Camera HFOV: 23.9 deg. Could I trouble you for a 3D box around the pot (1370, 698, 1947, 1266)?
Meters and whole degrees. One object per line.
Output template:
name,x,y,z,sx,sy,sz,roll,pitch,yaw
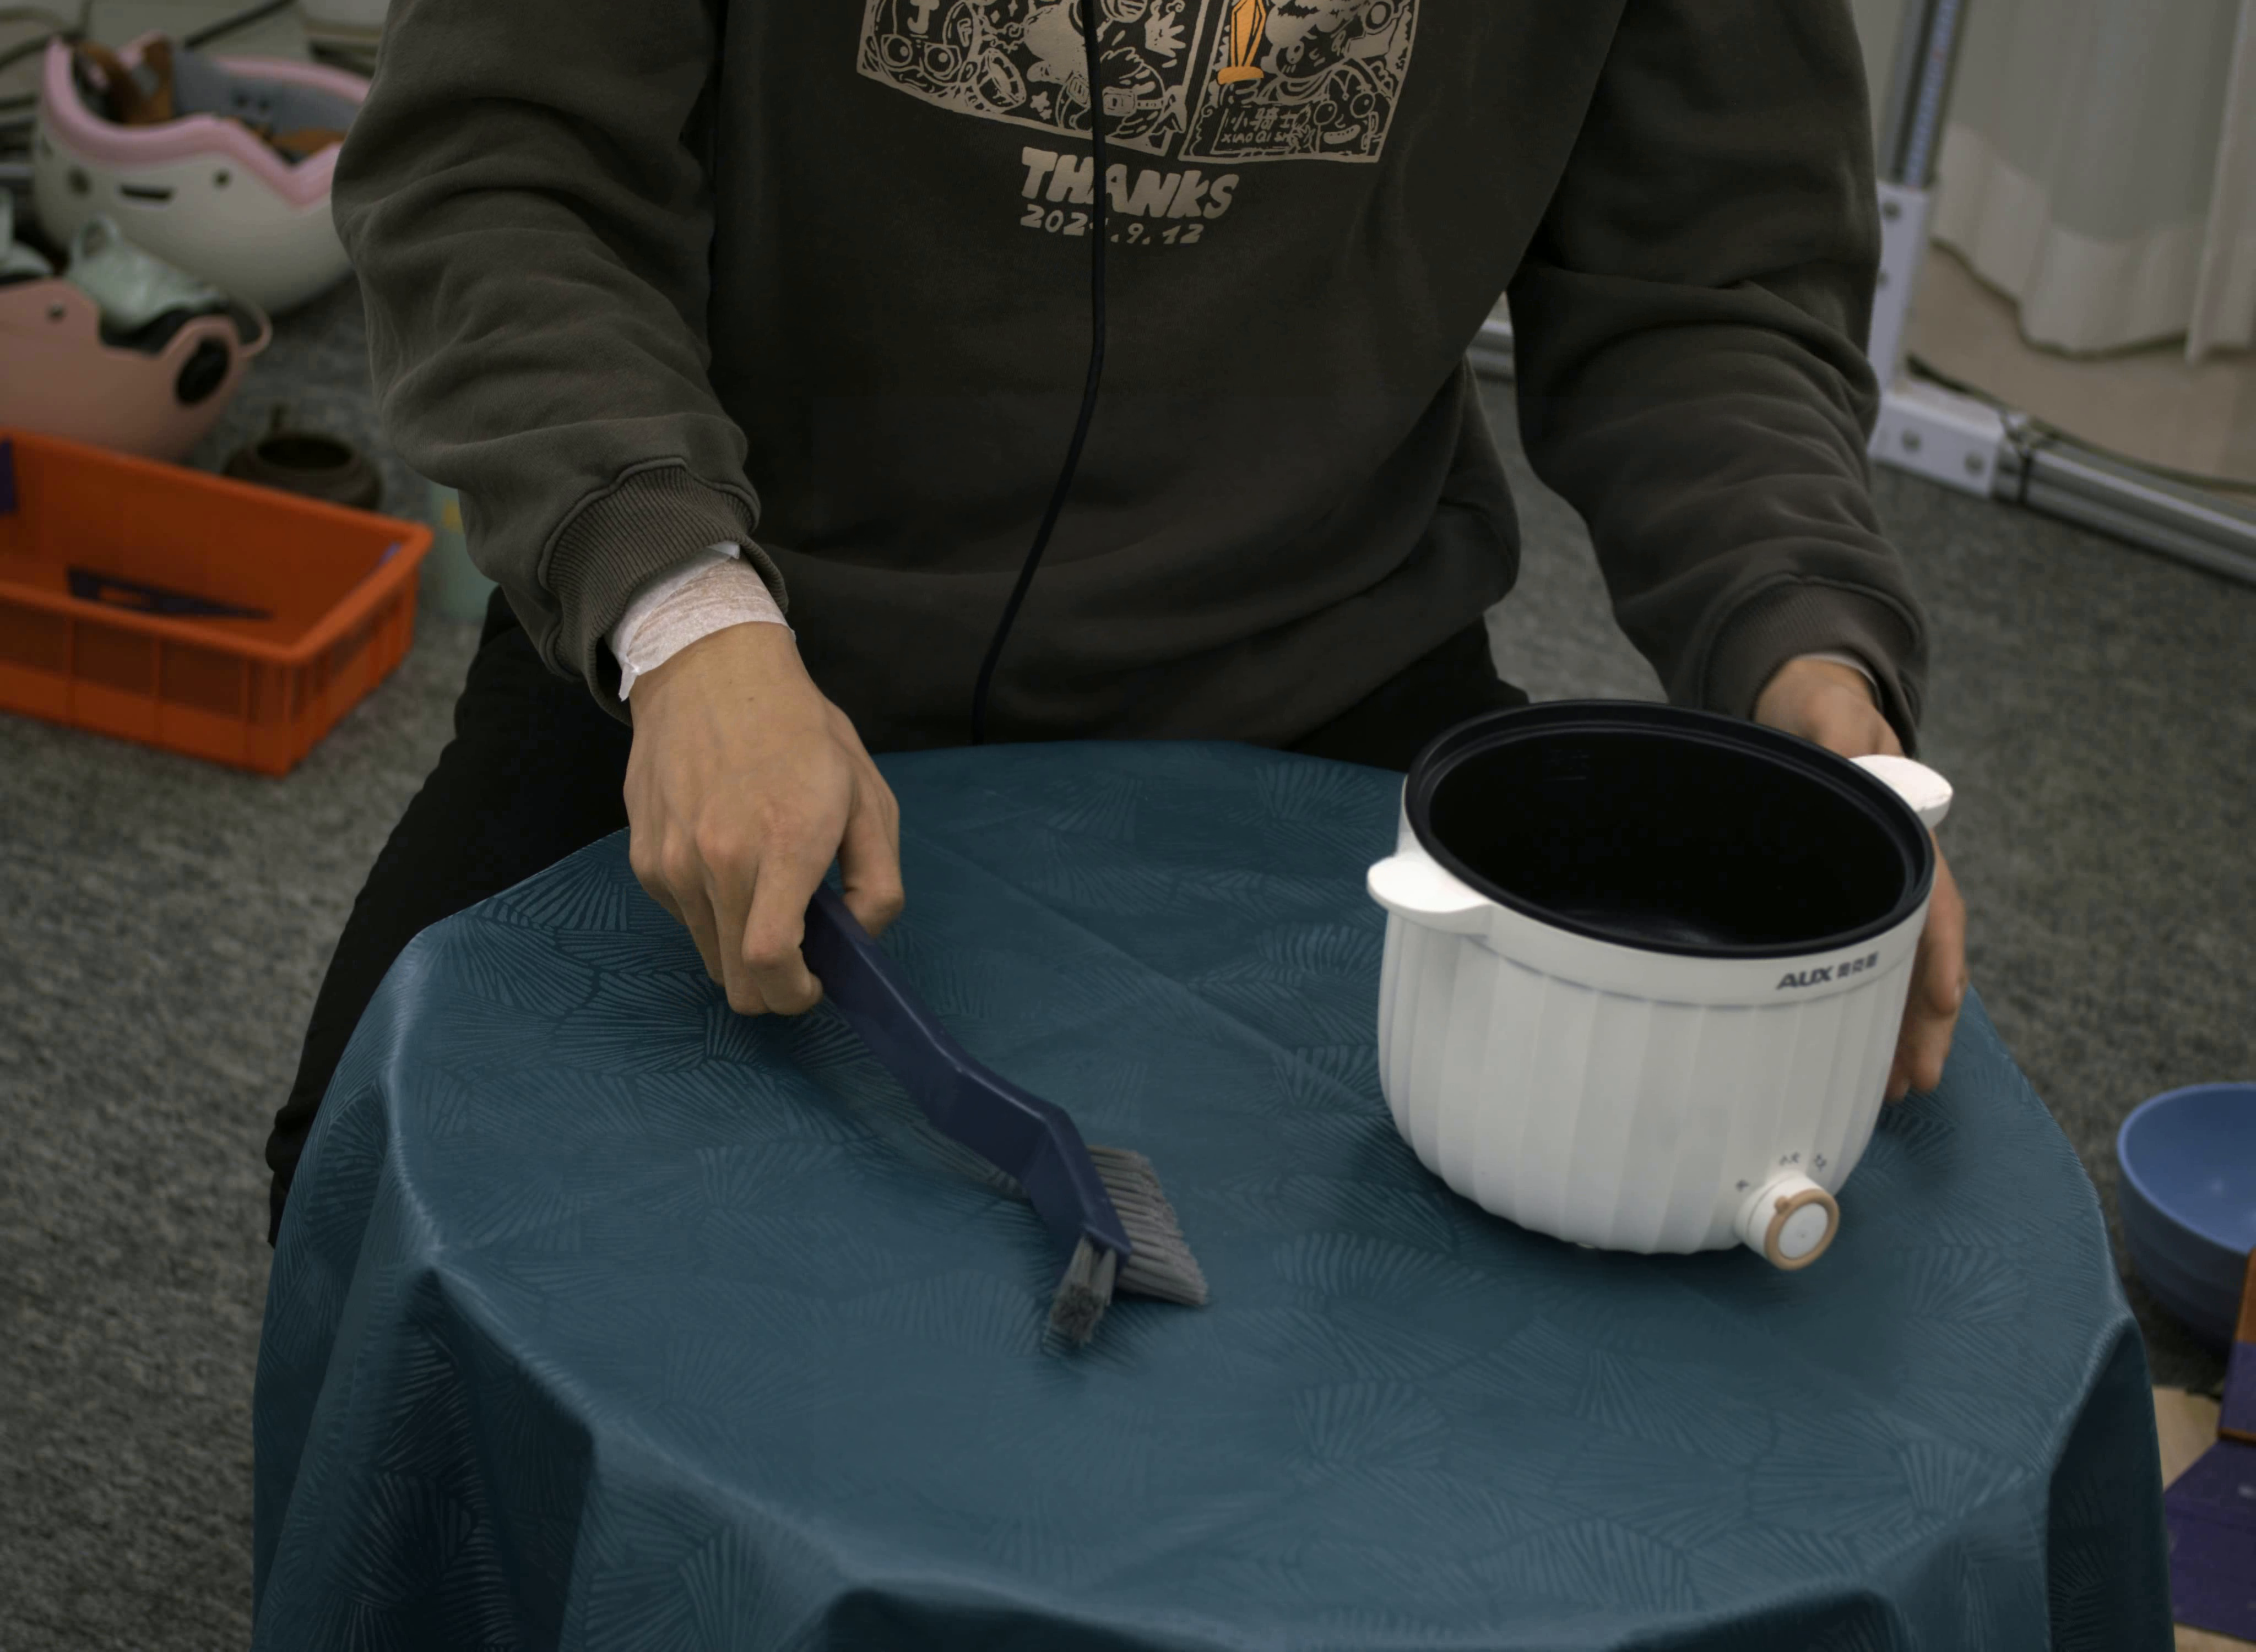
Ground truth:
pot,0.180,0.058,1.820,0.239,0.142,0.192,-12,29,-31

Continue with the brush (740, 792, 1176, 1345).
brush,-0.074,0.078,1.805,0.095,0.033,0.275,-4,36,-44
